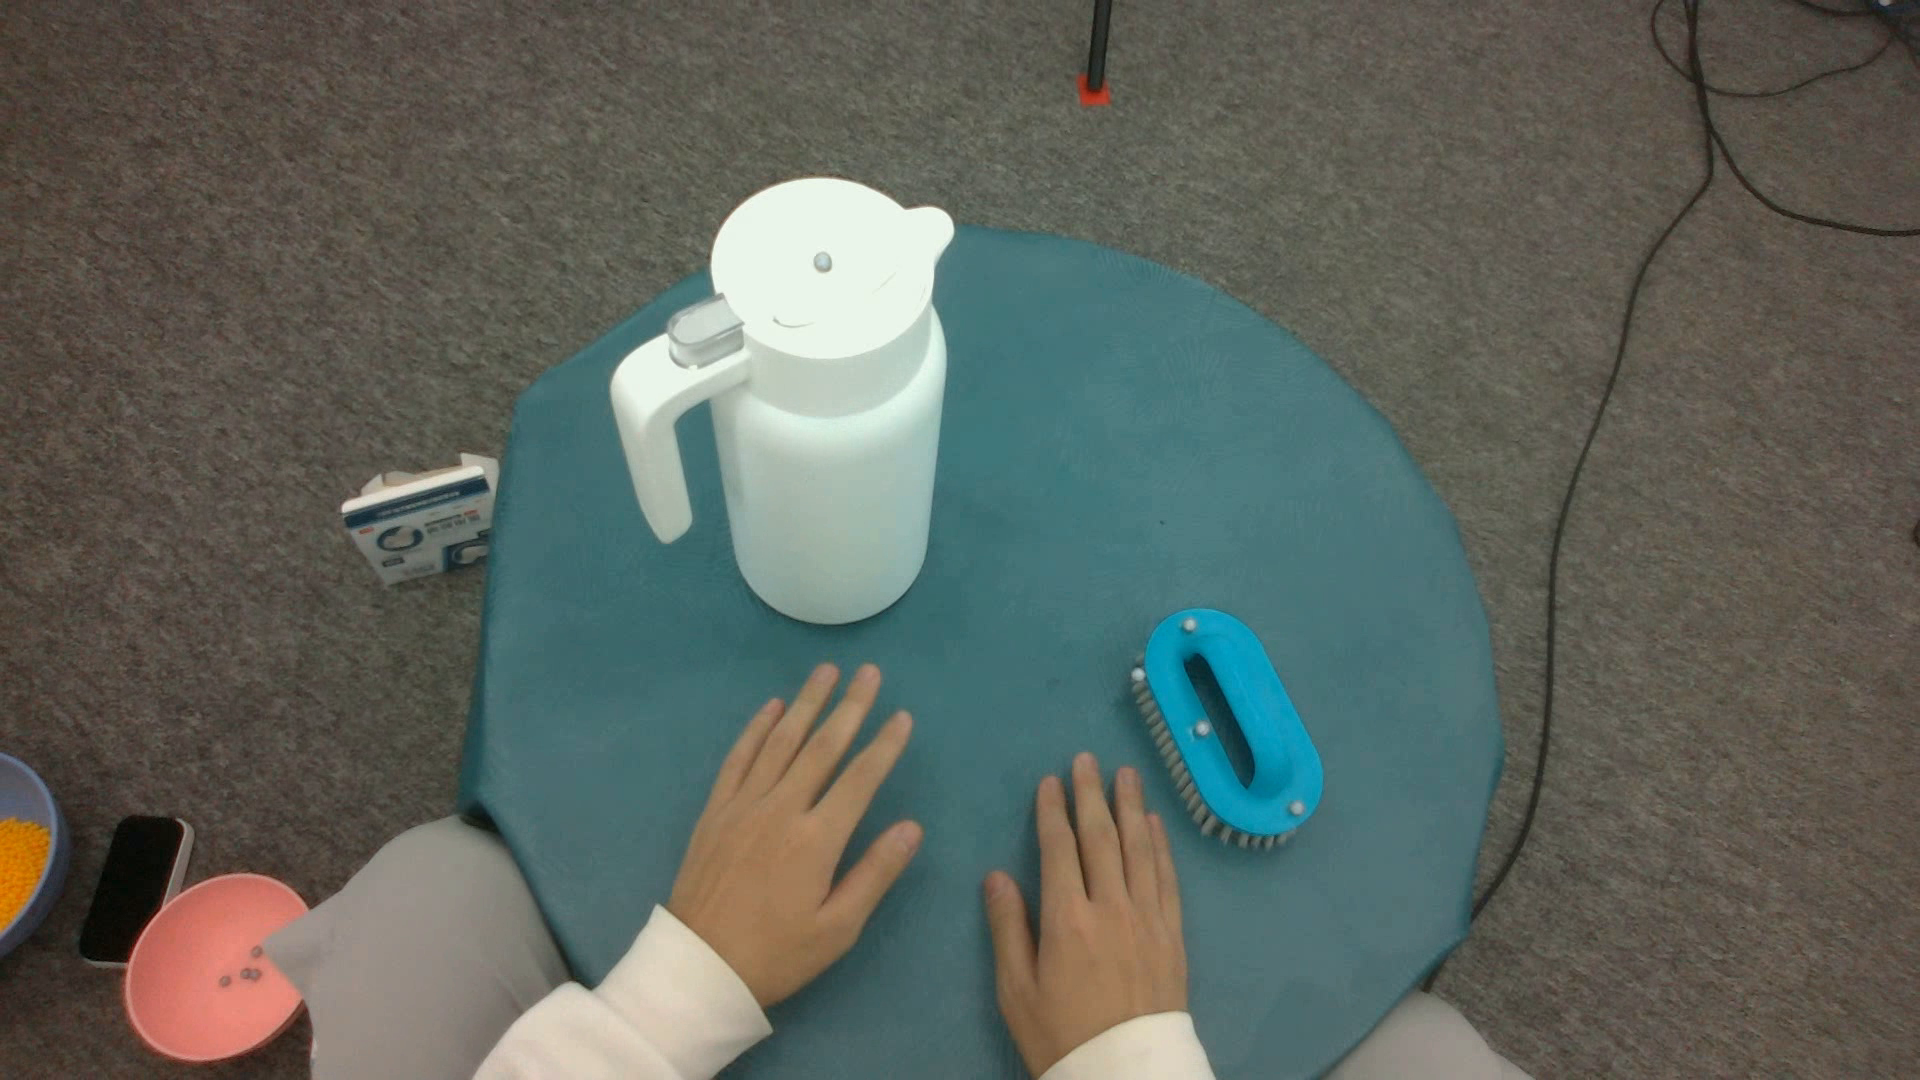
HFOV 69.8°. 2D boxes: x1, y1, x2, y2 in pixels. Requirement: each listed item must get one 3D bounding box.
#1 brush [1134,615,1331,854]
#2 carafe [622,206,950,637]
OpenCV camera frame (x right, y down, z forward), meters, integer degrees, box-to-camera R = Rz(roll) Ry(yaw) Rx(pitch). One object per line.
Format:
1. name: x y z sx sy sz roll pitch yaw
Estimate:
1. brush: 0.159 0.102 0.782 0.084 0.063 0.142 -14 64 -17
2. carafe: -0.082 -0.042 0.730 0.173 0.267 0.124 -32 70 -18
